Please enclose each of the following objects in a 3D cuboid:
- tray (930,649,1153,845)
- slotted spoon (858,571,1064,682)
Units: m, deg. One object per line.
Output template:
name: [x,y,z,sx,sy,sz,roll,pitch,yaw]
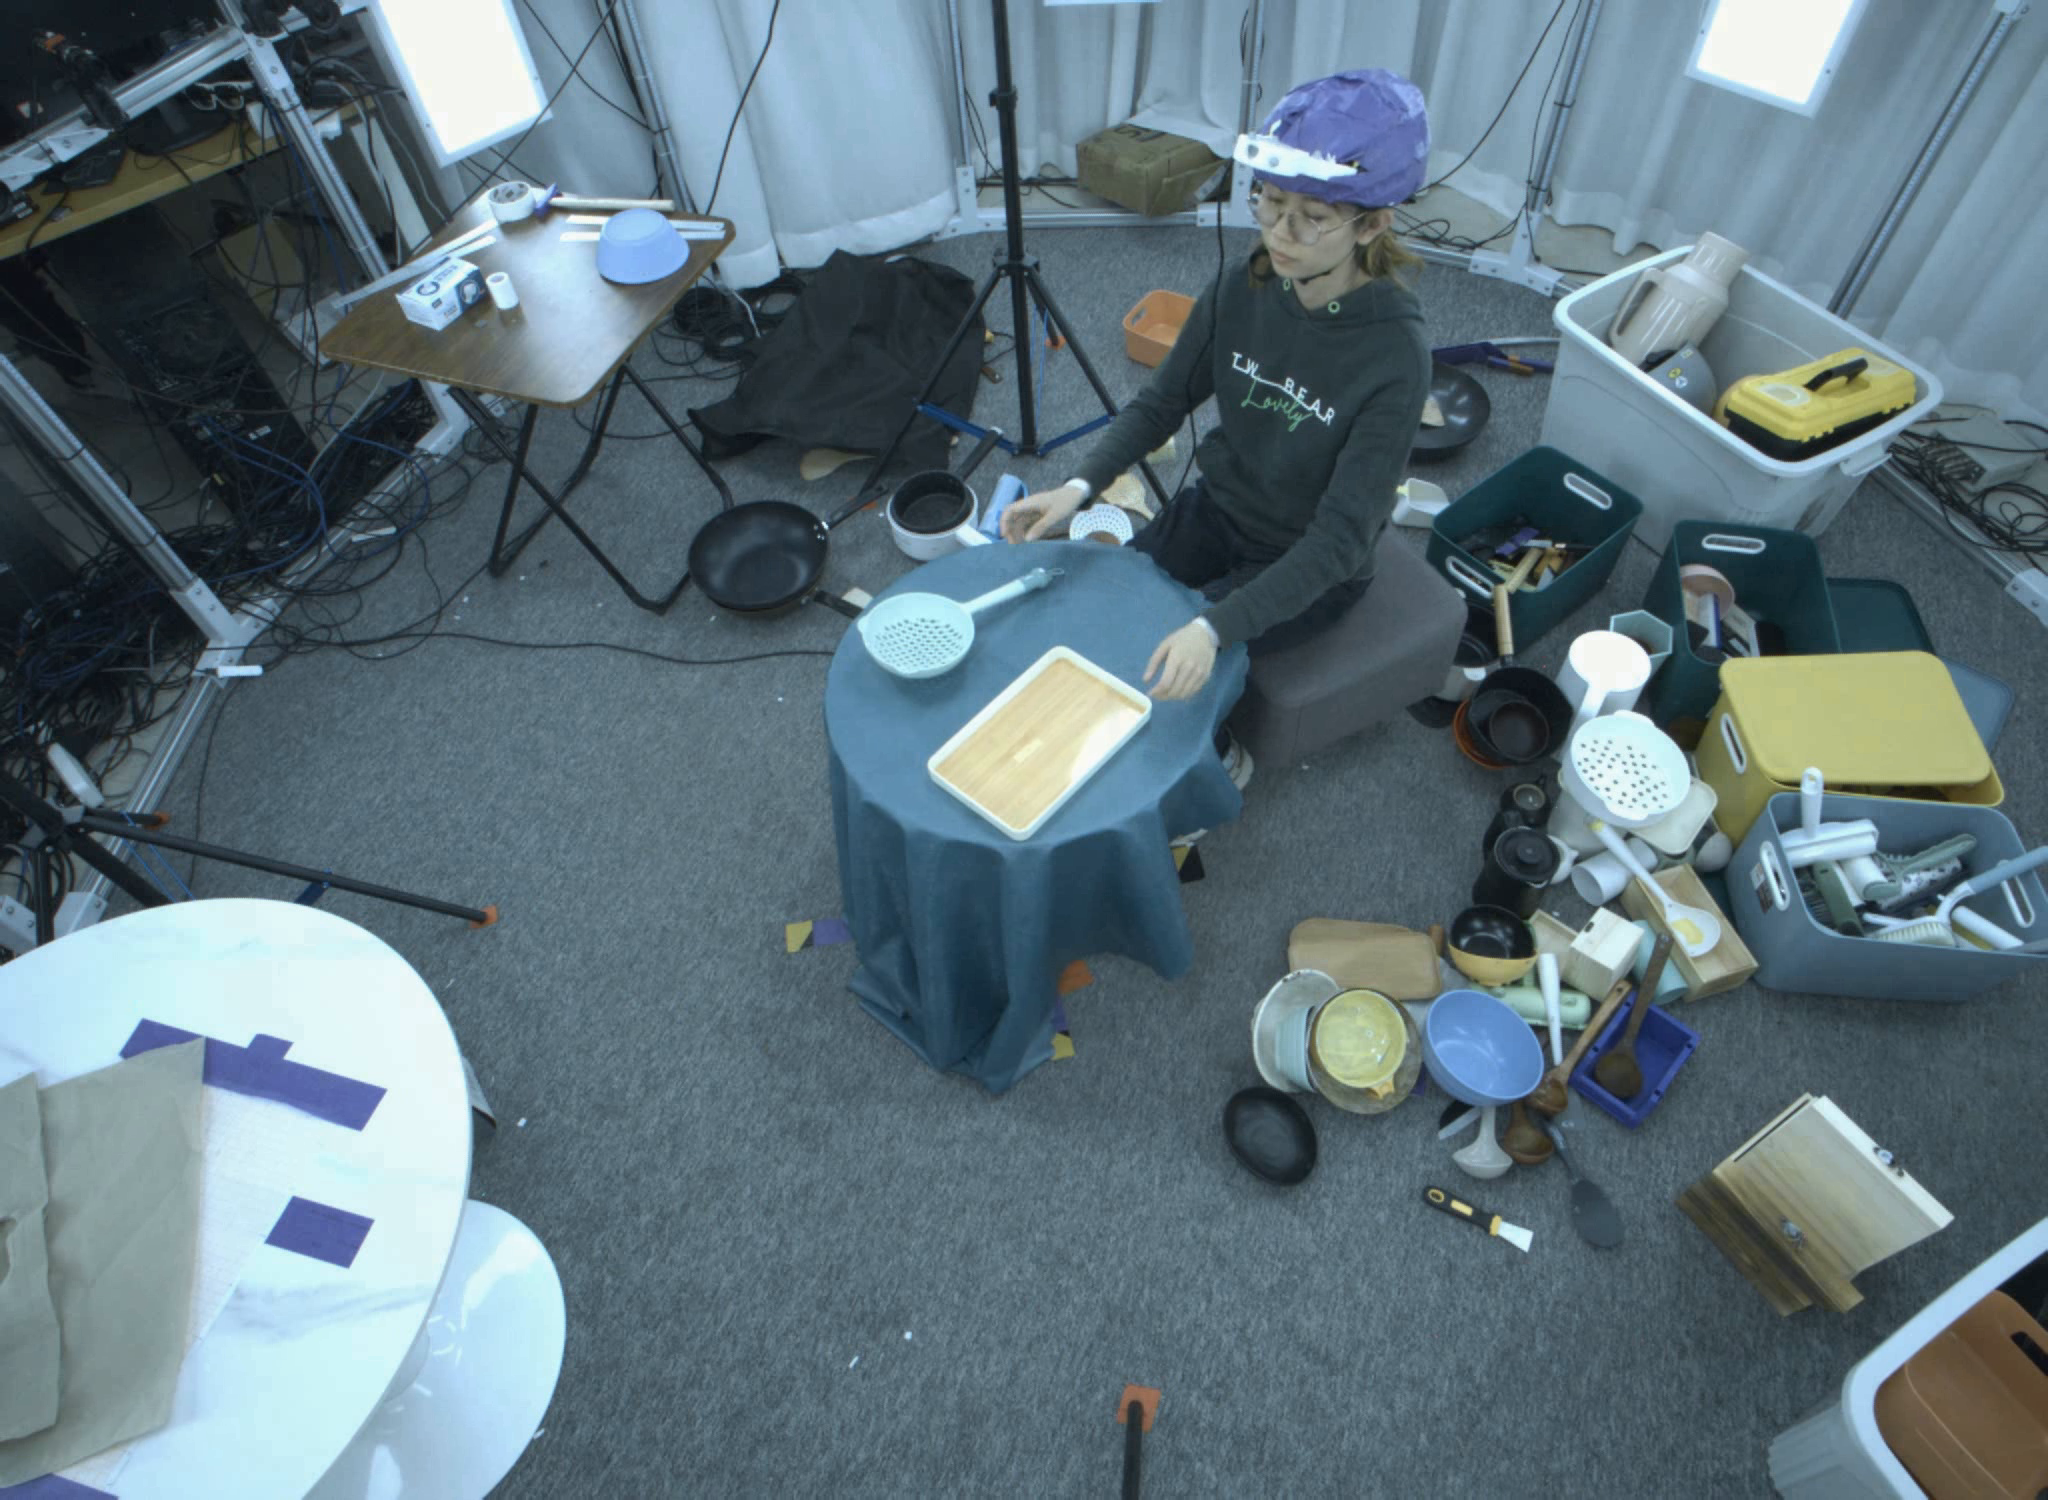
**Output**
tray: [0.028,-0.010,1.788,0.188,0.028,0.302,35,63,23]
slotted spoon: [-0.083,-0.212,1.909,0.361,0.076,0.166,-33,61,-20]
